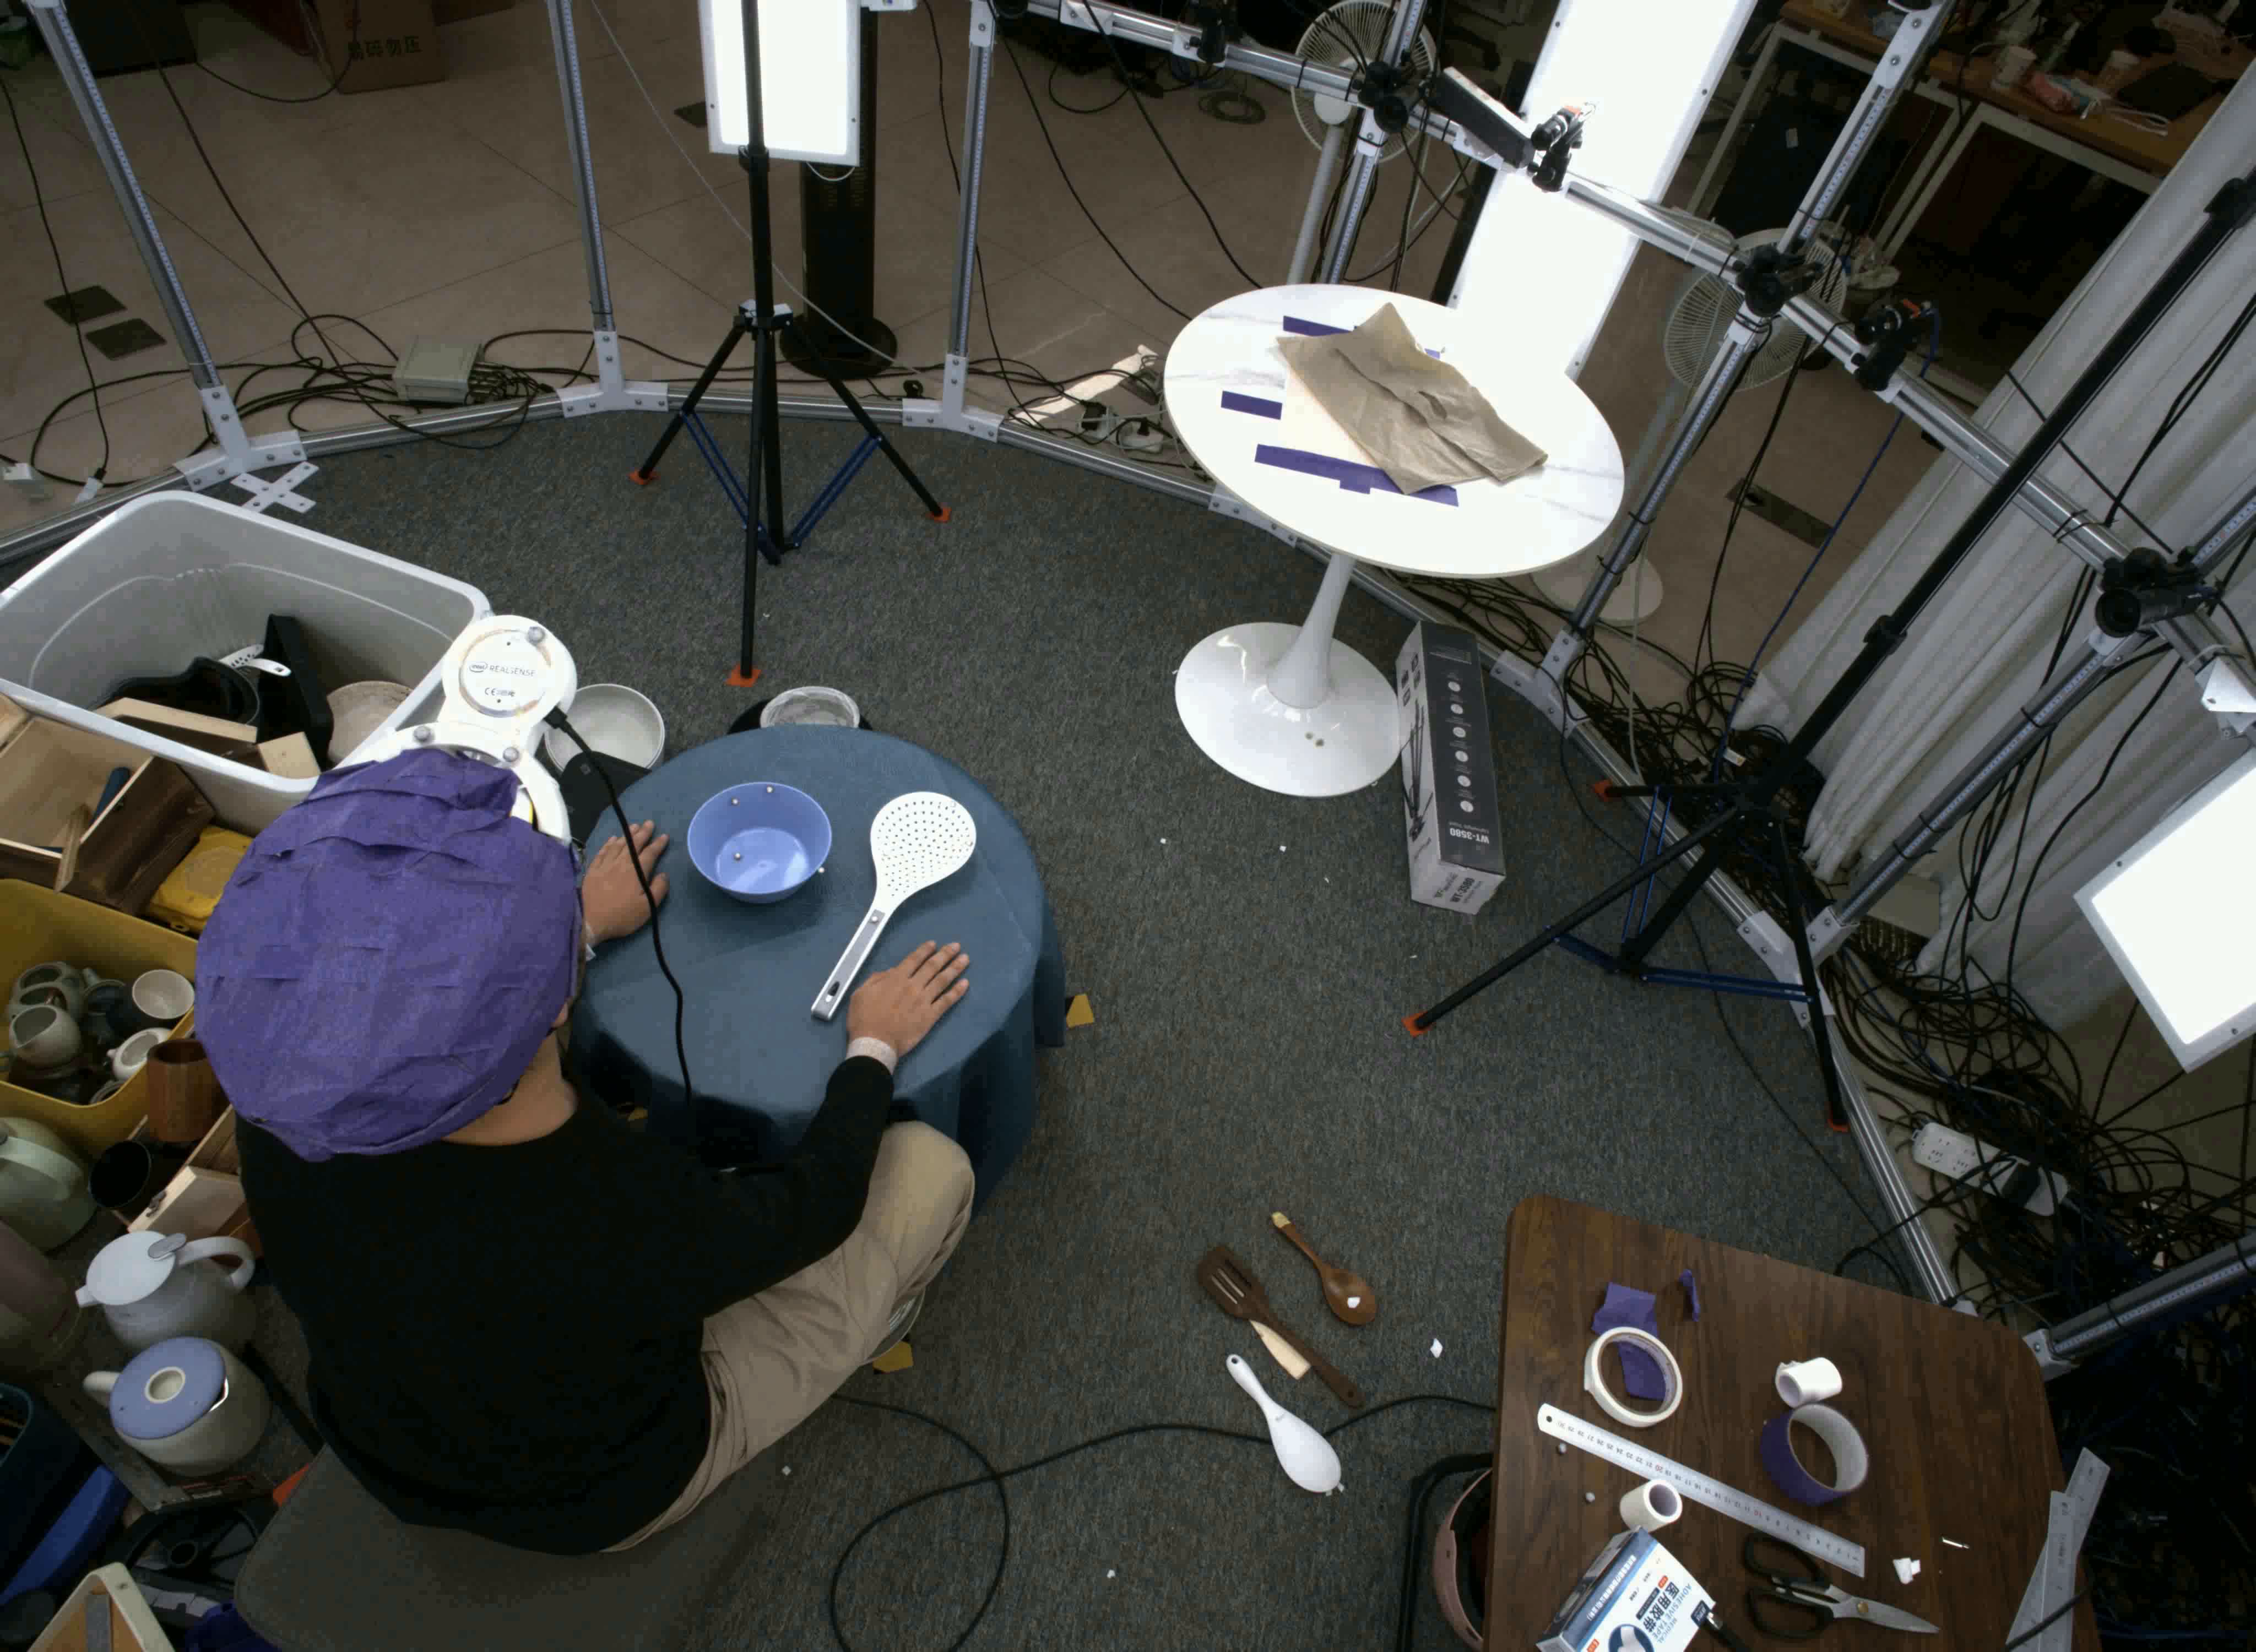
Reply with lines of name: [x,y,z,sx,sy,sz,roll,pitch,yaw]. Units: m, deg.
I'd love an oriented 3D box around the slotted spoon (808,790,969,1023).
slotted spoon: [-0.313,0.095,1.647,0.134,0.046,0.347,22,53,2]

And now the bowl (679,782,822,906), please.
bowl: [-0.474,0.032,1.636,0.176,0.071,0.173,8,53,-9]
